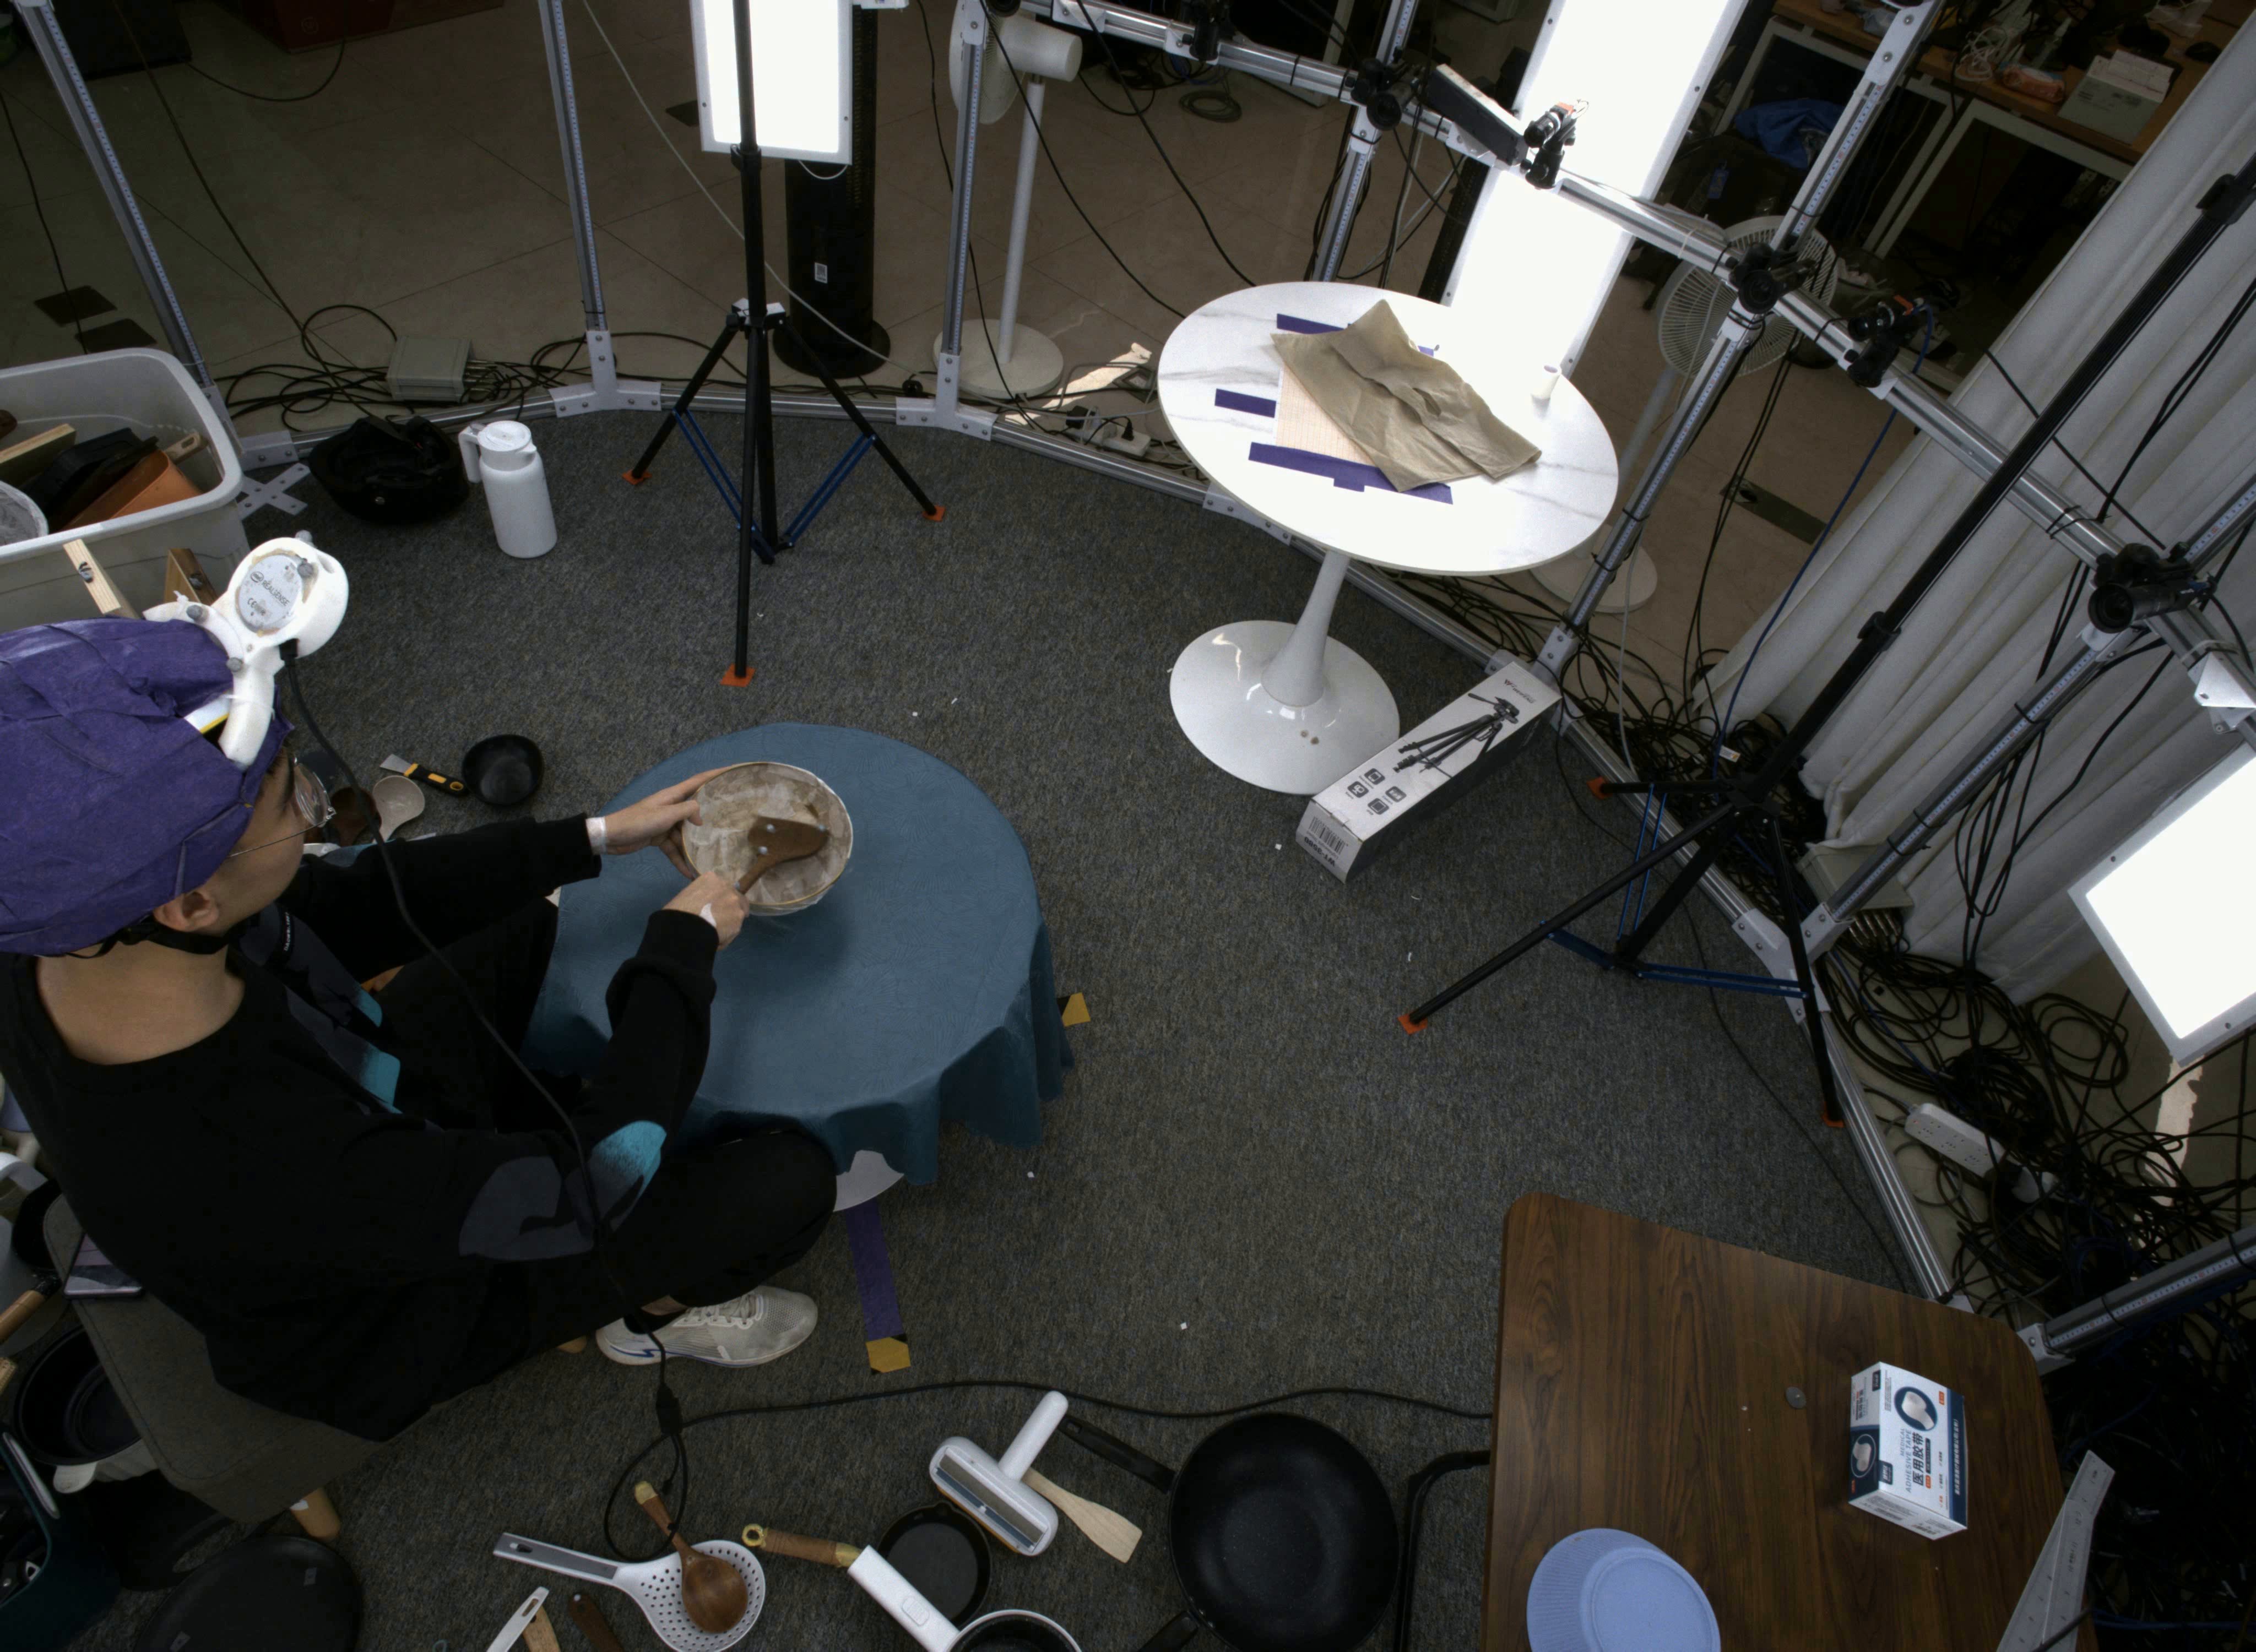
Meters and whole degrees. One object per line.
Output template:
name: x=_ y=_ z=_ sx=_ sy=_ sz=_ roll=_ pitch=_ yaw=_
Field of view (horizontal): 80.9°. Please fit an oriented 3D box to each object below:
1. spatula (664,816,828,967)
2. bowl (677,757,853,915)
spatula: x=-0.436 y=0.063 z=1.457 sx=0.095 sy=0.016 sz=0.381 roll=14 pitch=22 yaw=0
bowl: x=-0.447 y=0.025 z=1.582 sx=0.216 sy=0.095 sz=0.212 roll=11 pitch=59 yaw=-17
